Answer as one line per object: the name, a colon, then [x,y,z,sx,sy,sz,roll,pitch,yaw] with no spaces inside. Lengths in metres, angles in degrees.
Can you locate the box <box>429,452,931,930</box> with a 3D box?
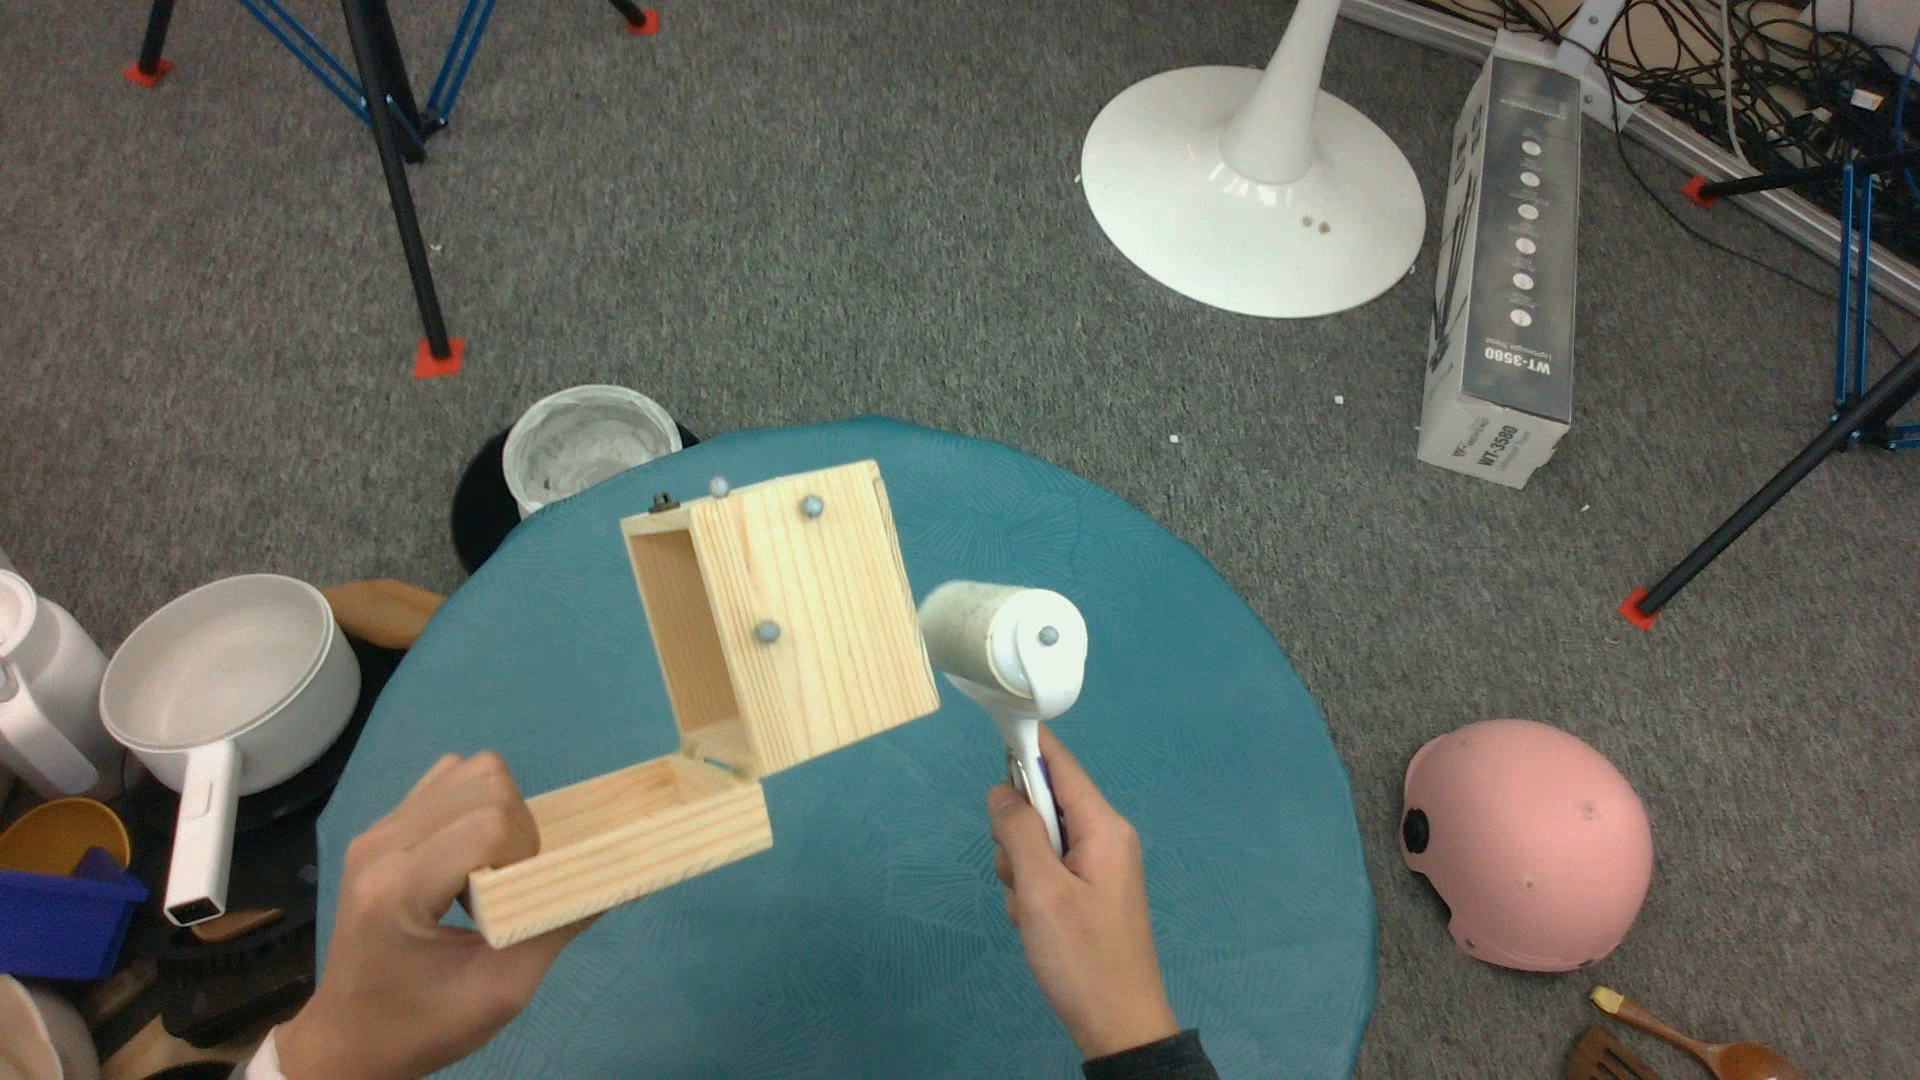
box: [-0.121,0.047,0.537,0.185,0.102,0.134,-18,97,-28]

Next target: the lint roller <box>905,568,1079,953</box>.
lint roller: [0.034,0.099,0.625,0.050,0.132,0.180,-24,98,-20]
